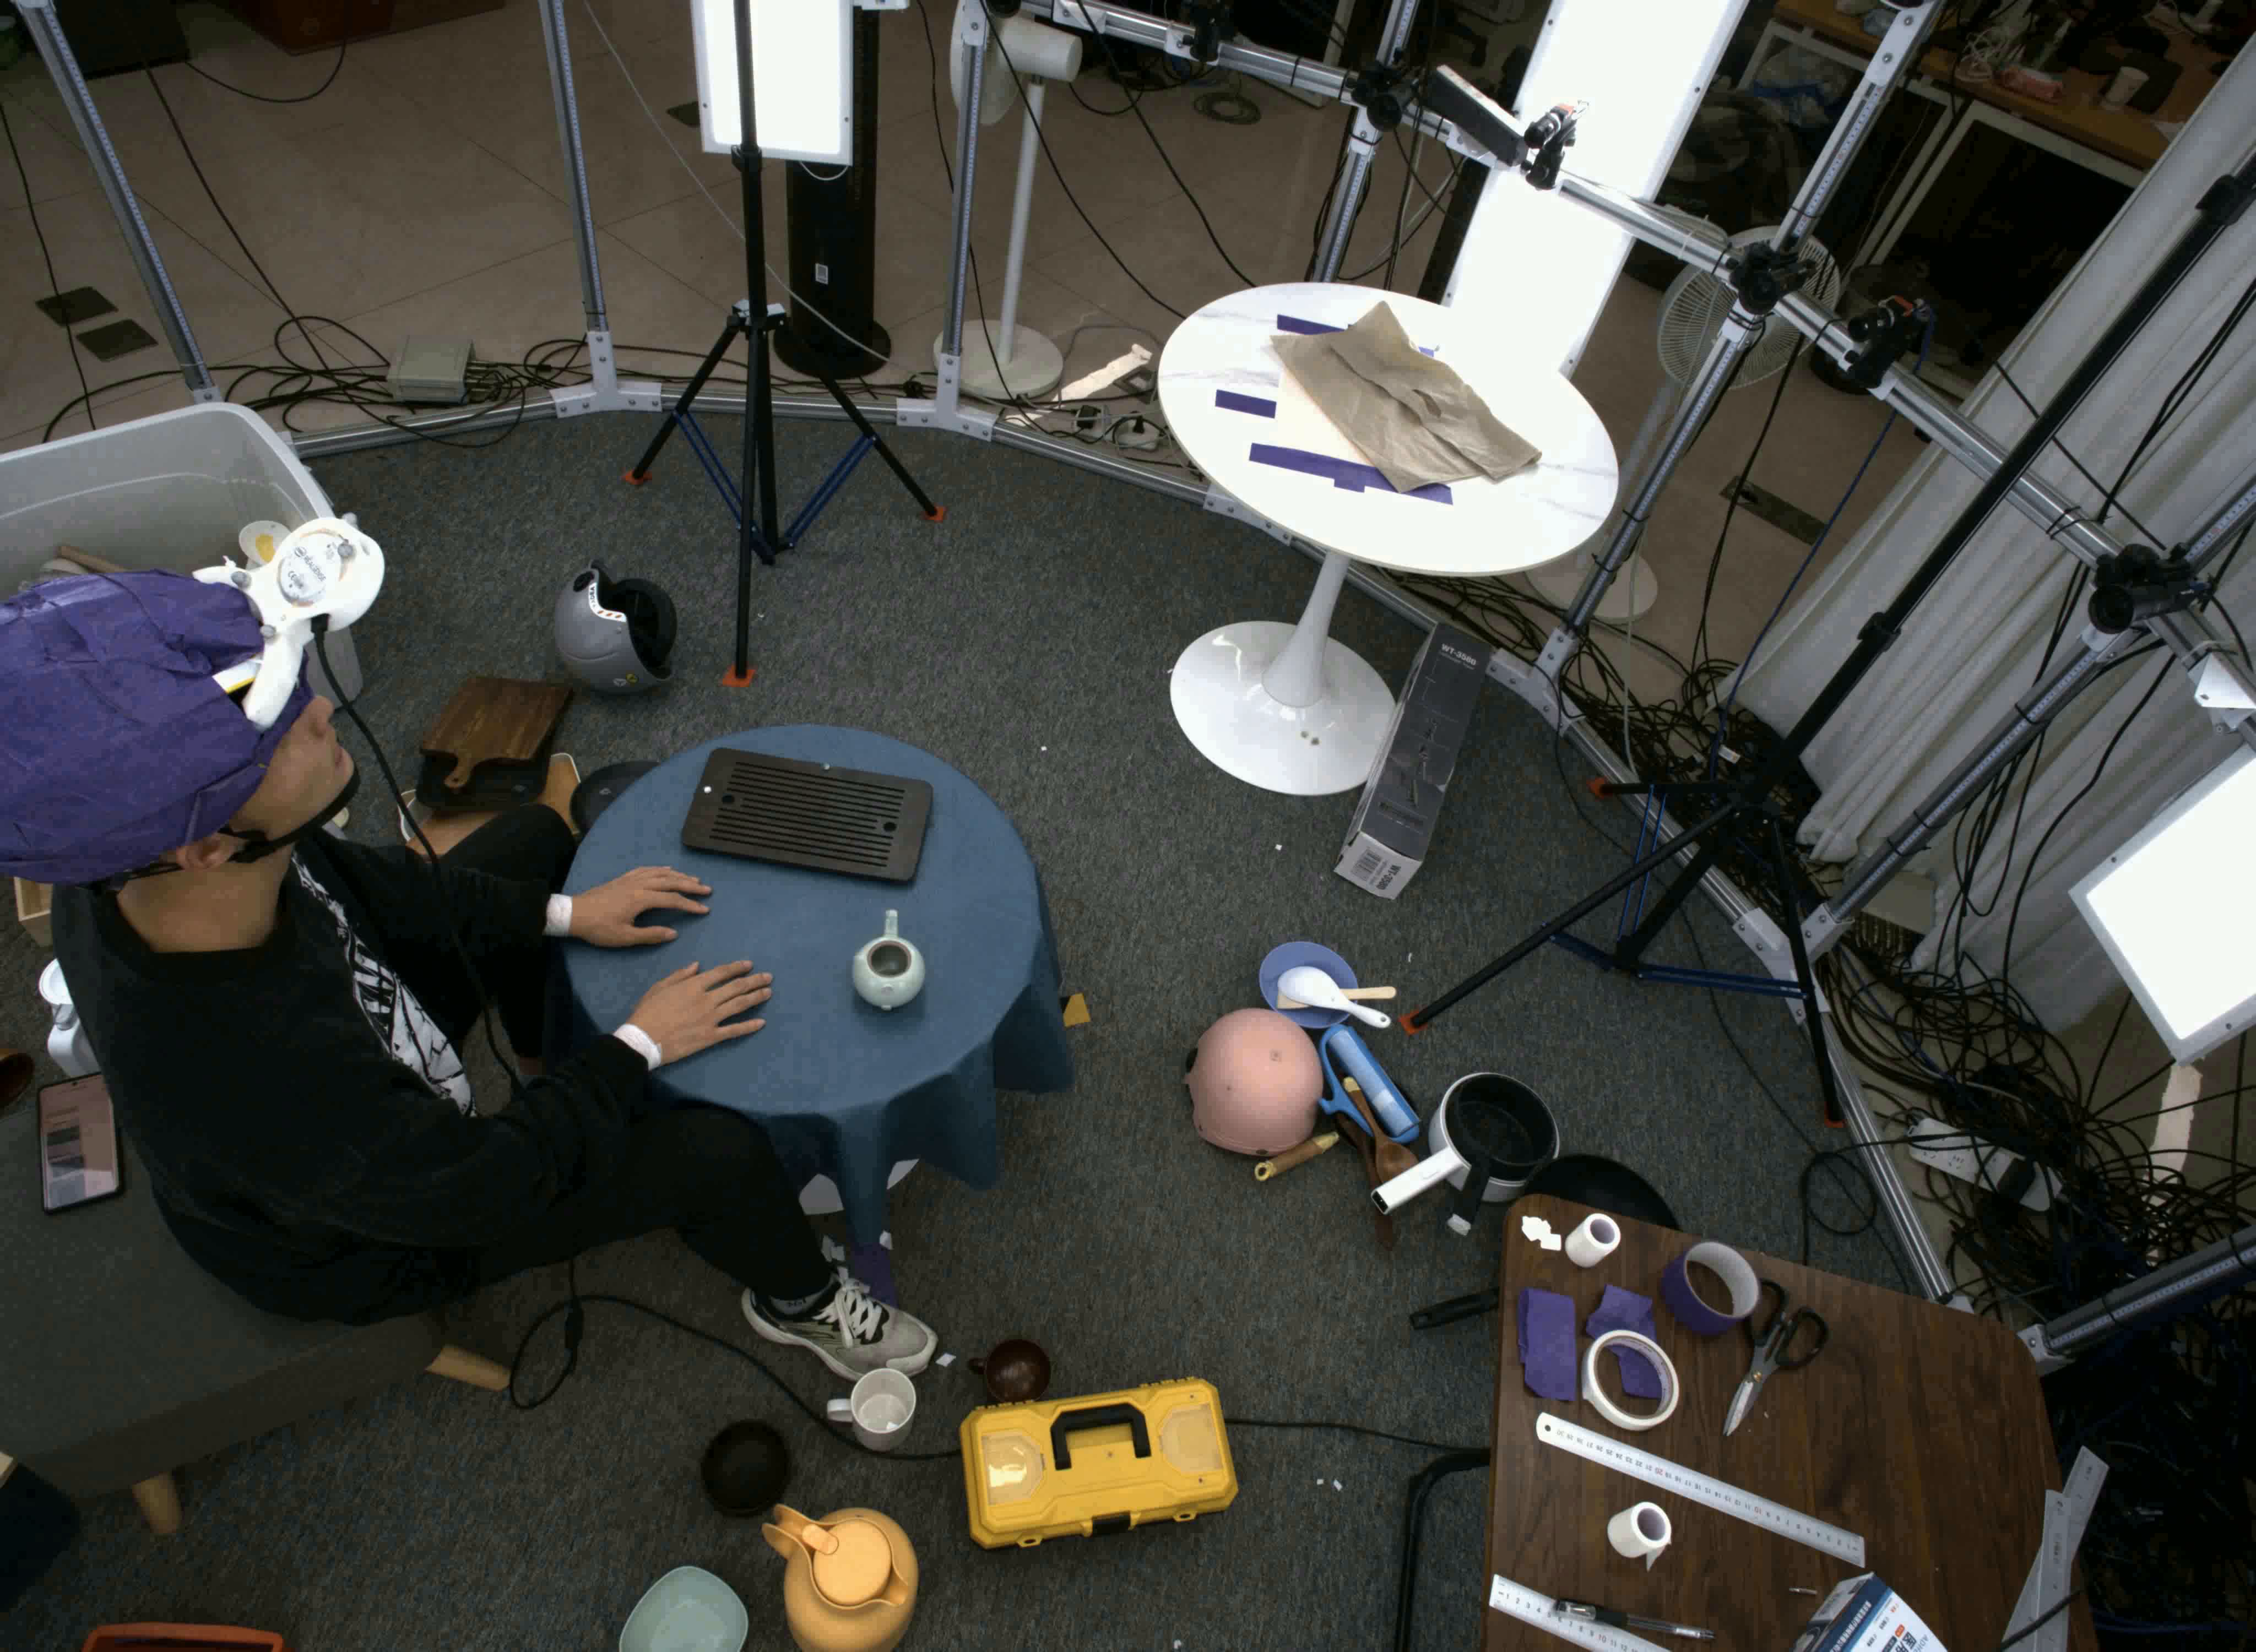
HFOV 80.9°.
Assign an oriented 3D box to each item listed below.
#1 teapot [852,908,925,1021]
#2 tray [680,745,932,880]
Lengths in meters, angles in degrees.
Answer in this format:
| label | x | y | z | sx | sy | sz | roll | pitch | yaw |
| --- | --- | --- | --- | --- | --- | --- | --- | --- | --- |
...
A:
| label | x | y | z | sx | sy | sz | roll | pitch | yaw |
| --- | --- | --- | --- | --- | --- | --- | --- | --- | --- |
| teapot | -0.291 | 0.175 | 1.578 | 0.088 | 0.076 | 0.141 | 5 | 51 | -10 |
| tray | -0.423 | -0.018 | 1.724 | 0.305 | 0.019 | 0.167 | 10 | 53 | -7 |
